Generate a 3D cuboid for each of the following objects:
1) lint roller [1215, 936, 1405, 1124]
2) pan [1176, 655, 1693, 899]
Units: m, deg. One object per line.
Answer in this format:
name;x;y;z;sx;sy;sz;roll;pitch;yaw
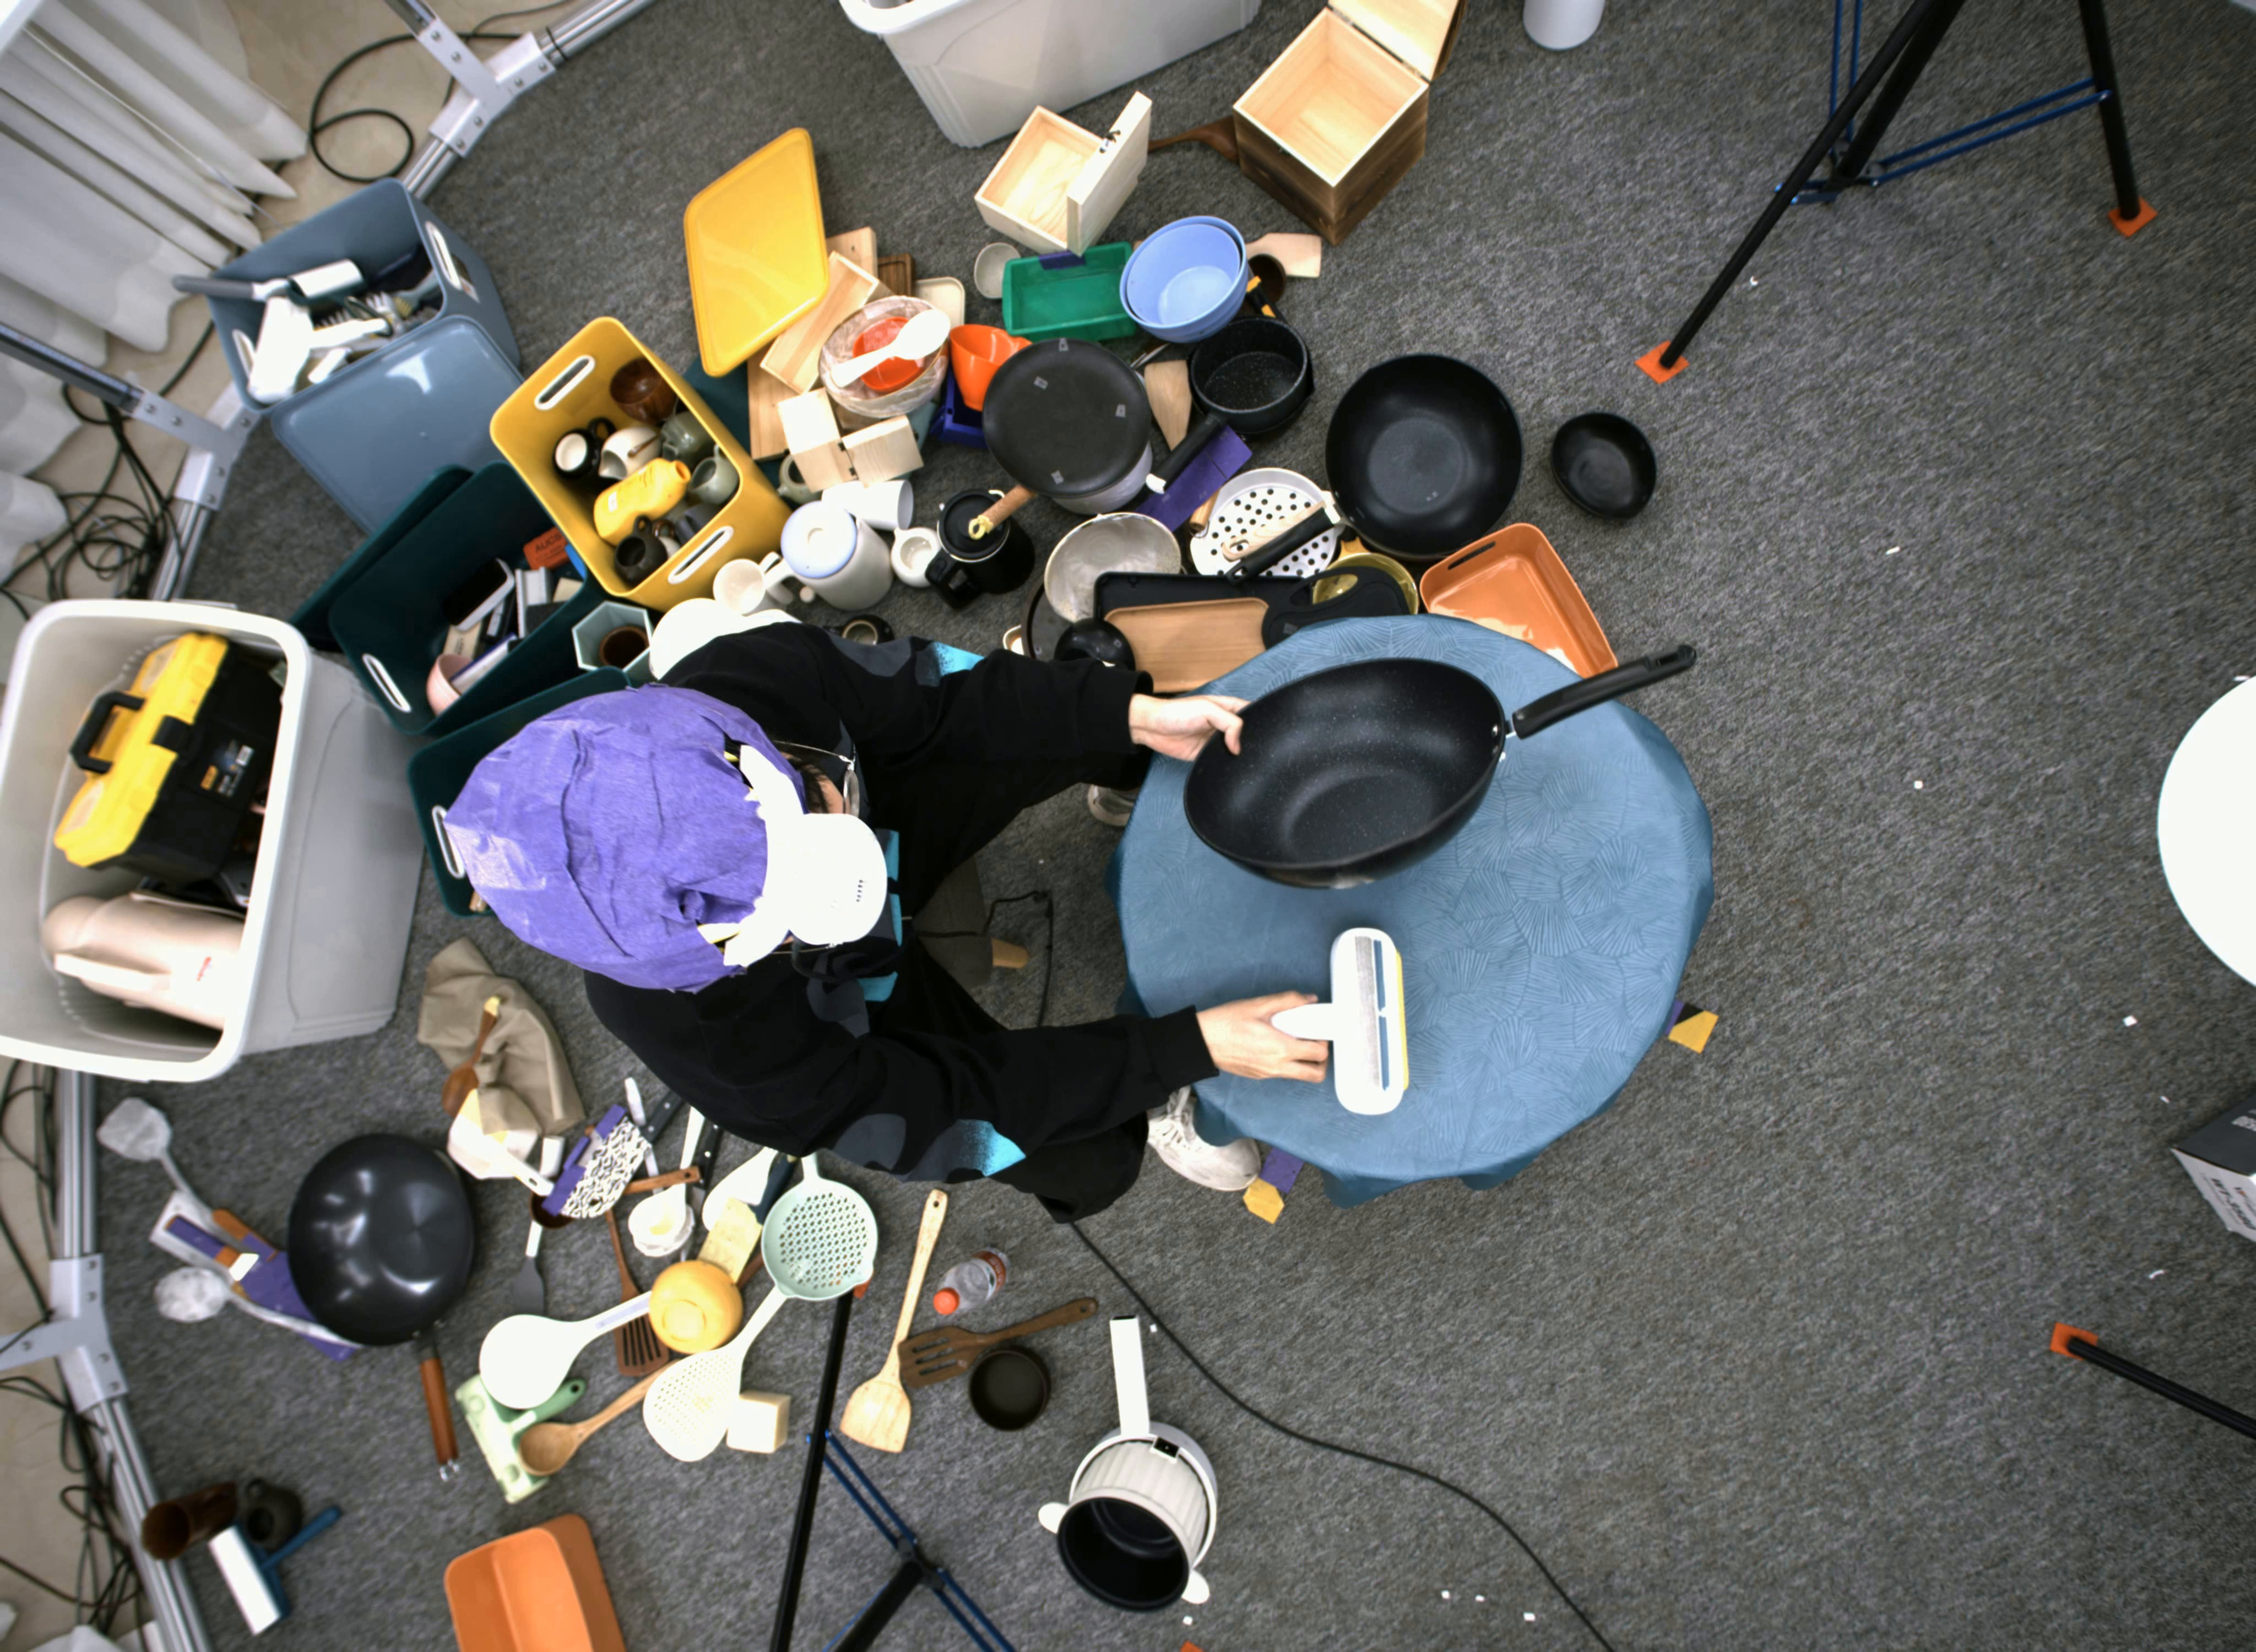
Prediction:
lint roller;0.184;0.204;1.412;0.193;0.075;0.189;2;71;7
pan;0.278;-0.058;1.272;0.481;0.114;0.301;-12;40;20
